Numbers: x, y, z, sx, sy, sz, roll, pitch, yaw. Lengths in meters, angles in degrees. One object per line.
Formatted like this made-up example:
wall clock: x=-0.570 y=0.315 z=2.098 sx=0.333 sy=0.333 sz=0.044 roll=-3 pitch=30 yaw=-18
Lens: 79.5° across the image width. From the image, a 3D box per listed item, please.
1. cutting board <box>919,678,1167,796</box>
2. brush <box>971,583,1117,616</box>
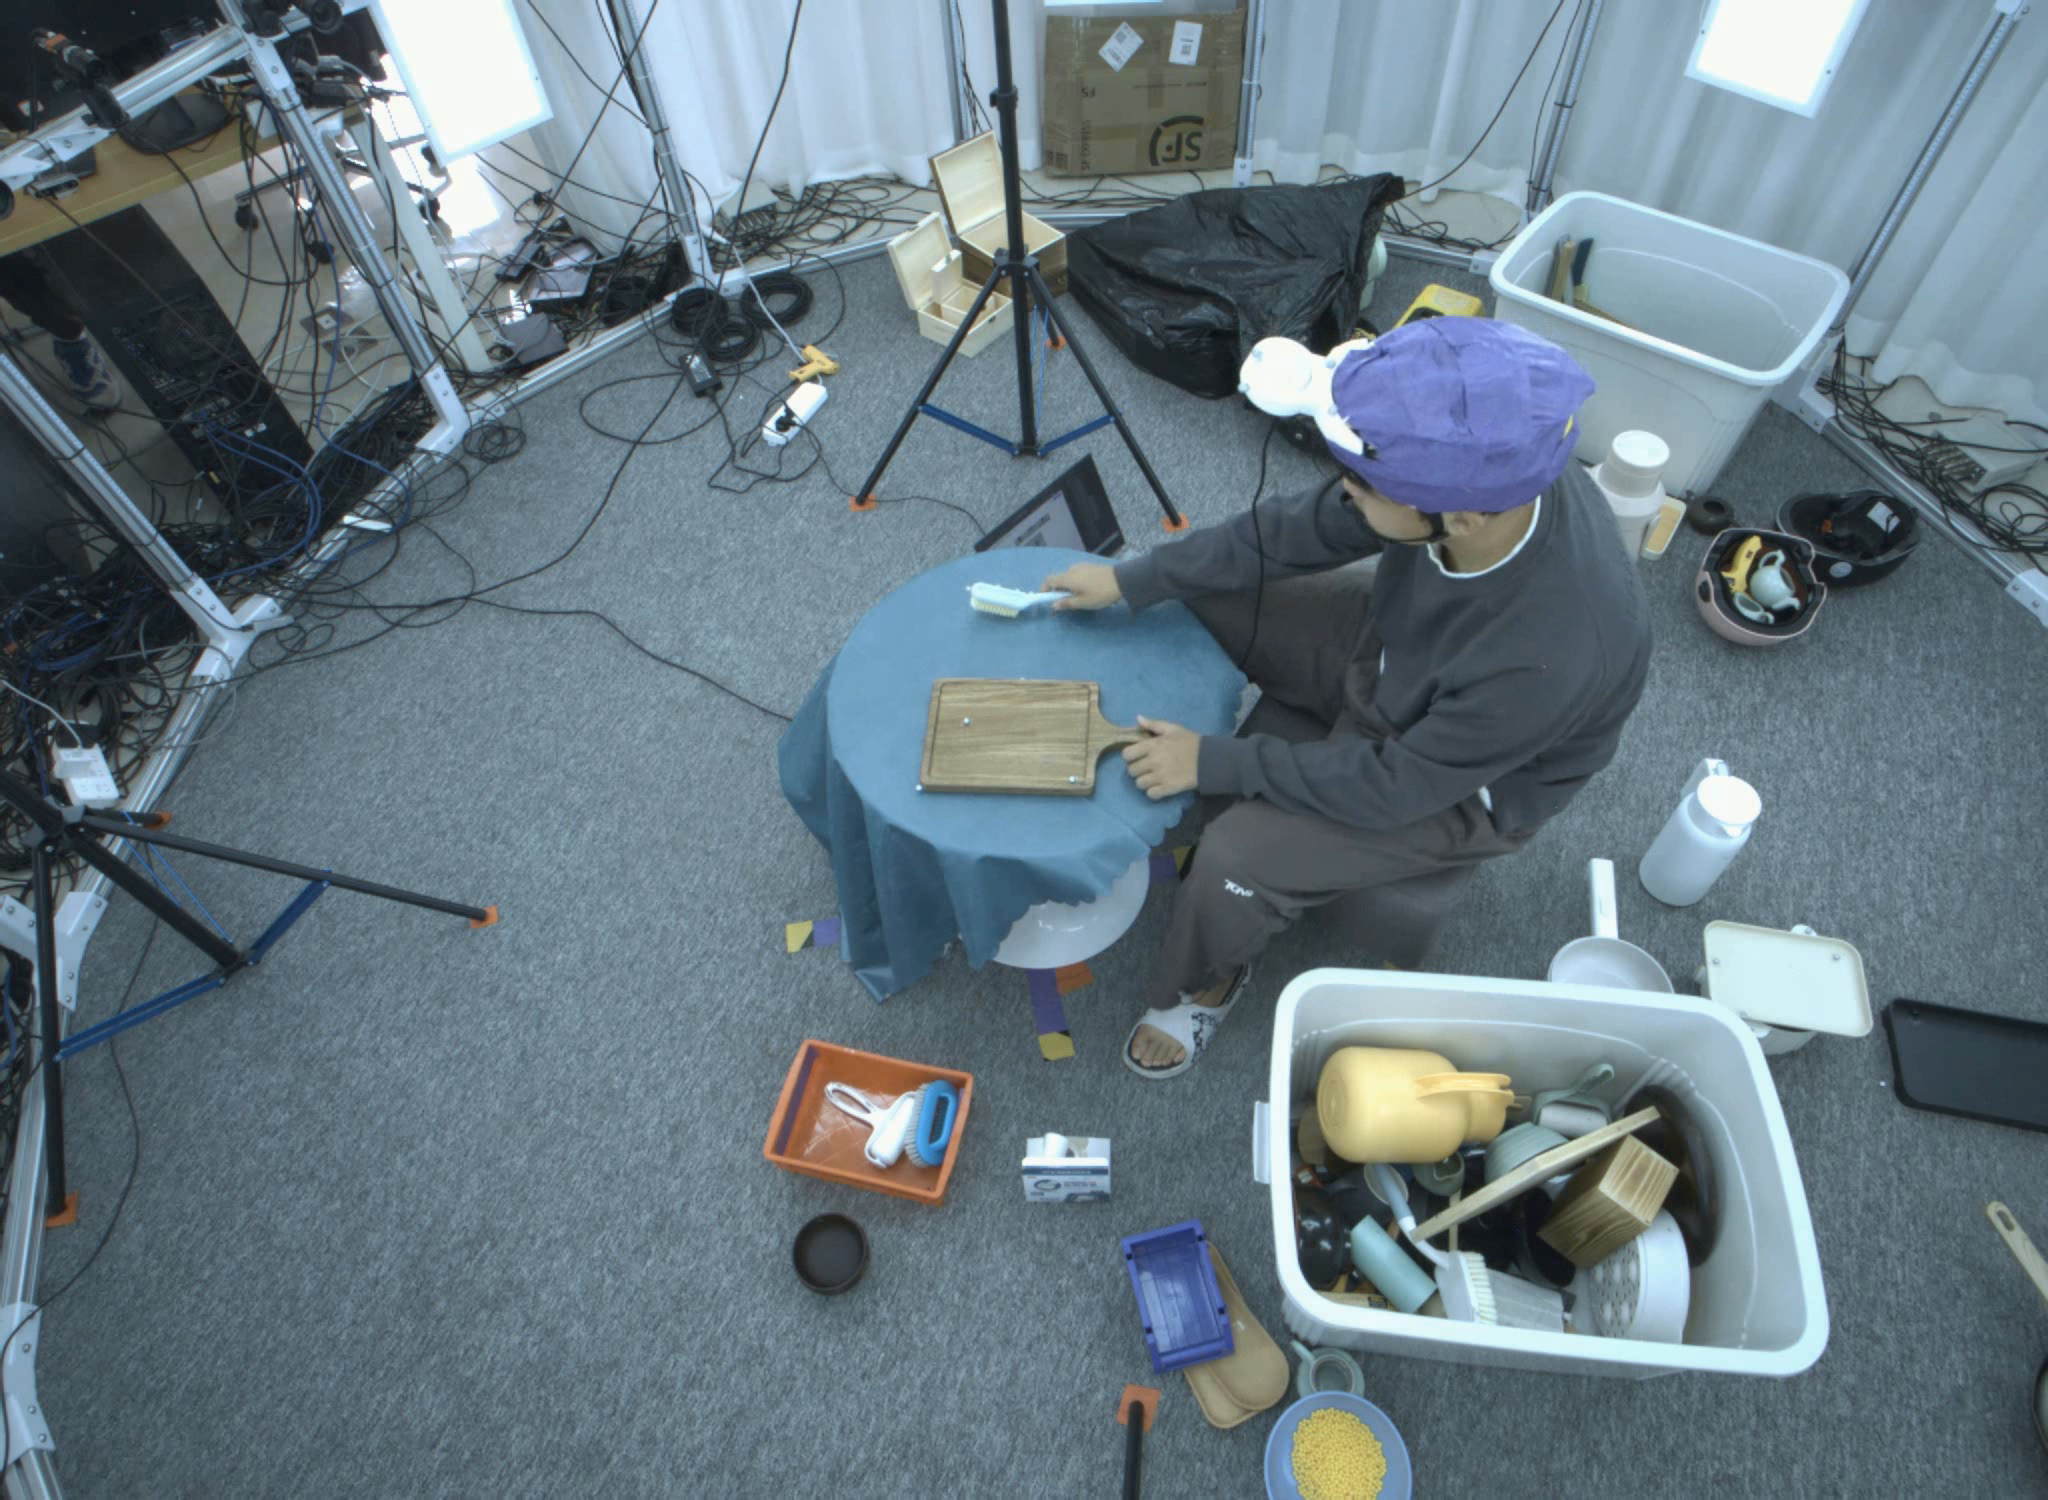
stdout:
cutting board: x=0.030 y=-0.020 z=1.788 sx=0.351 sy=0.023 sz=0.199 roll=2 pitch=55 yaw=3
brush: x=0.031 y=-0.234 z=1.926 sx=0.229 sy=0.050 sz=0.037 roll=0 pitch=48 yaw=-3
